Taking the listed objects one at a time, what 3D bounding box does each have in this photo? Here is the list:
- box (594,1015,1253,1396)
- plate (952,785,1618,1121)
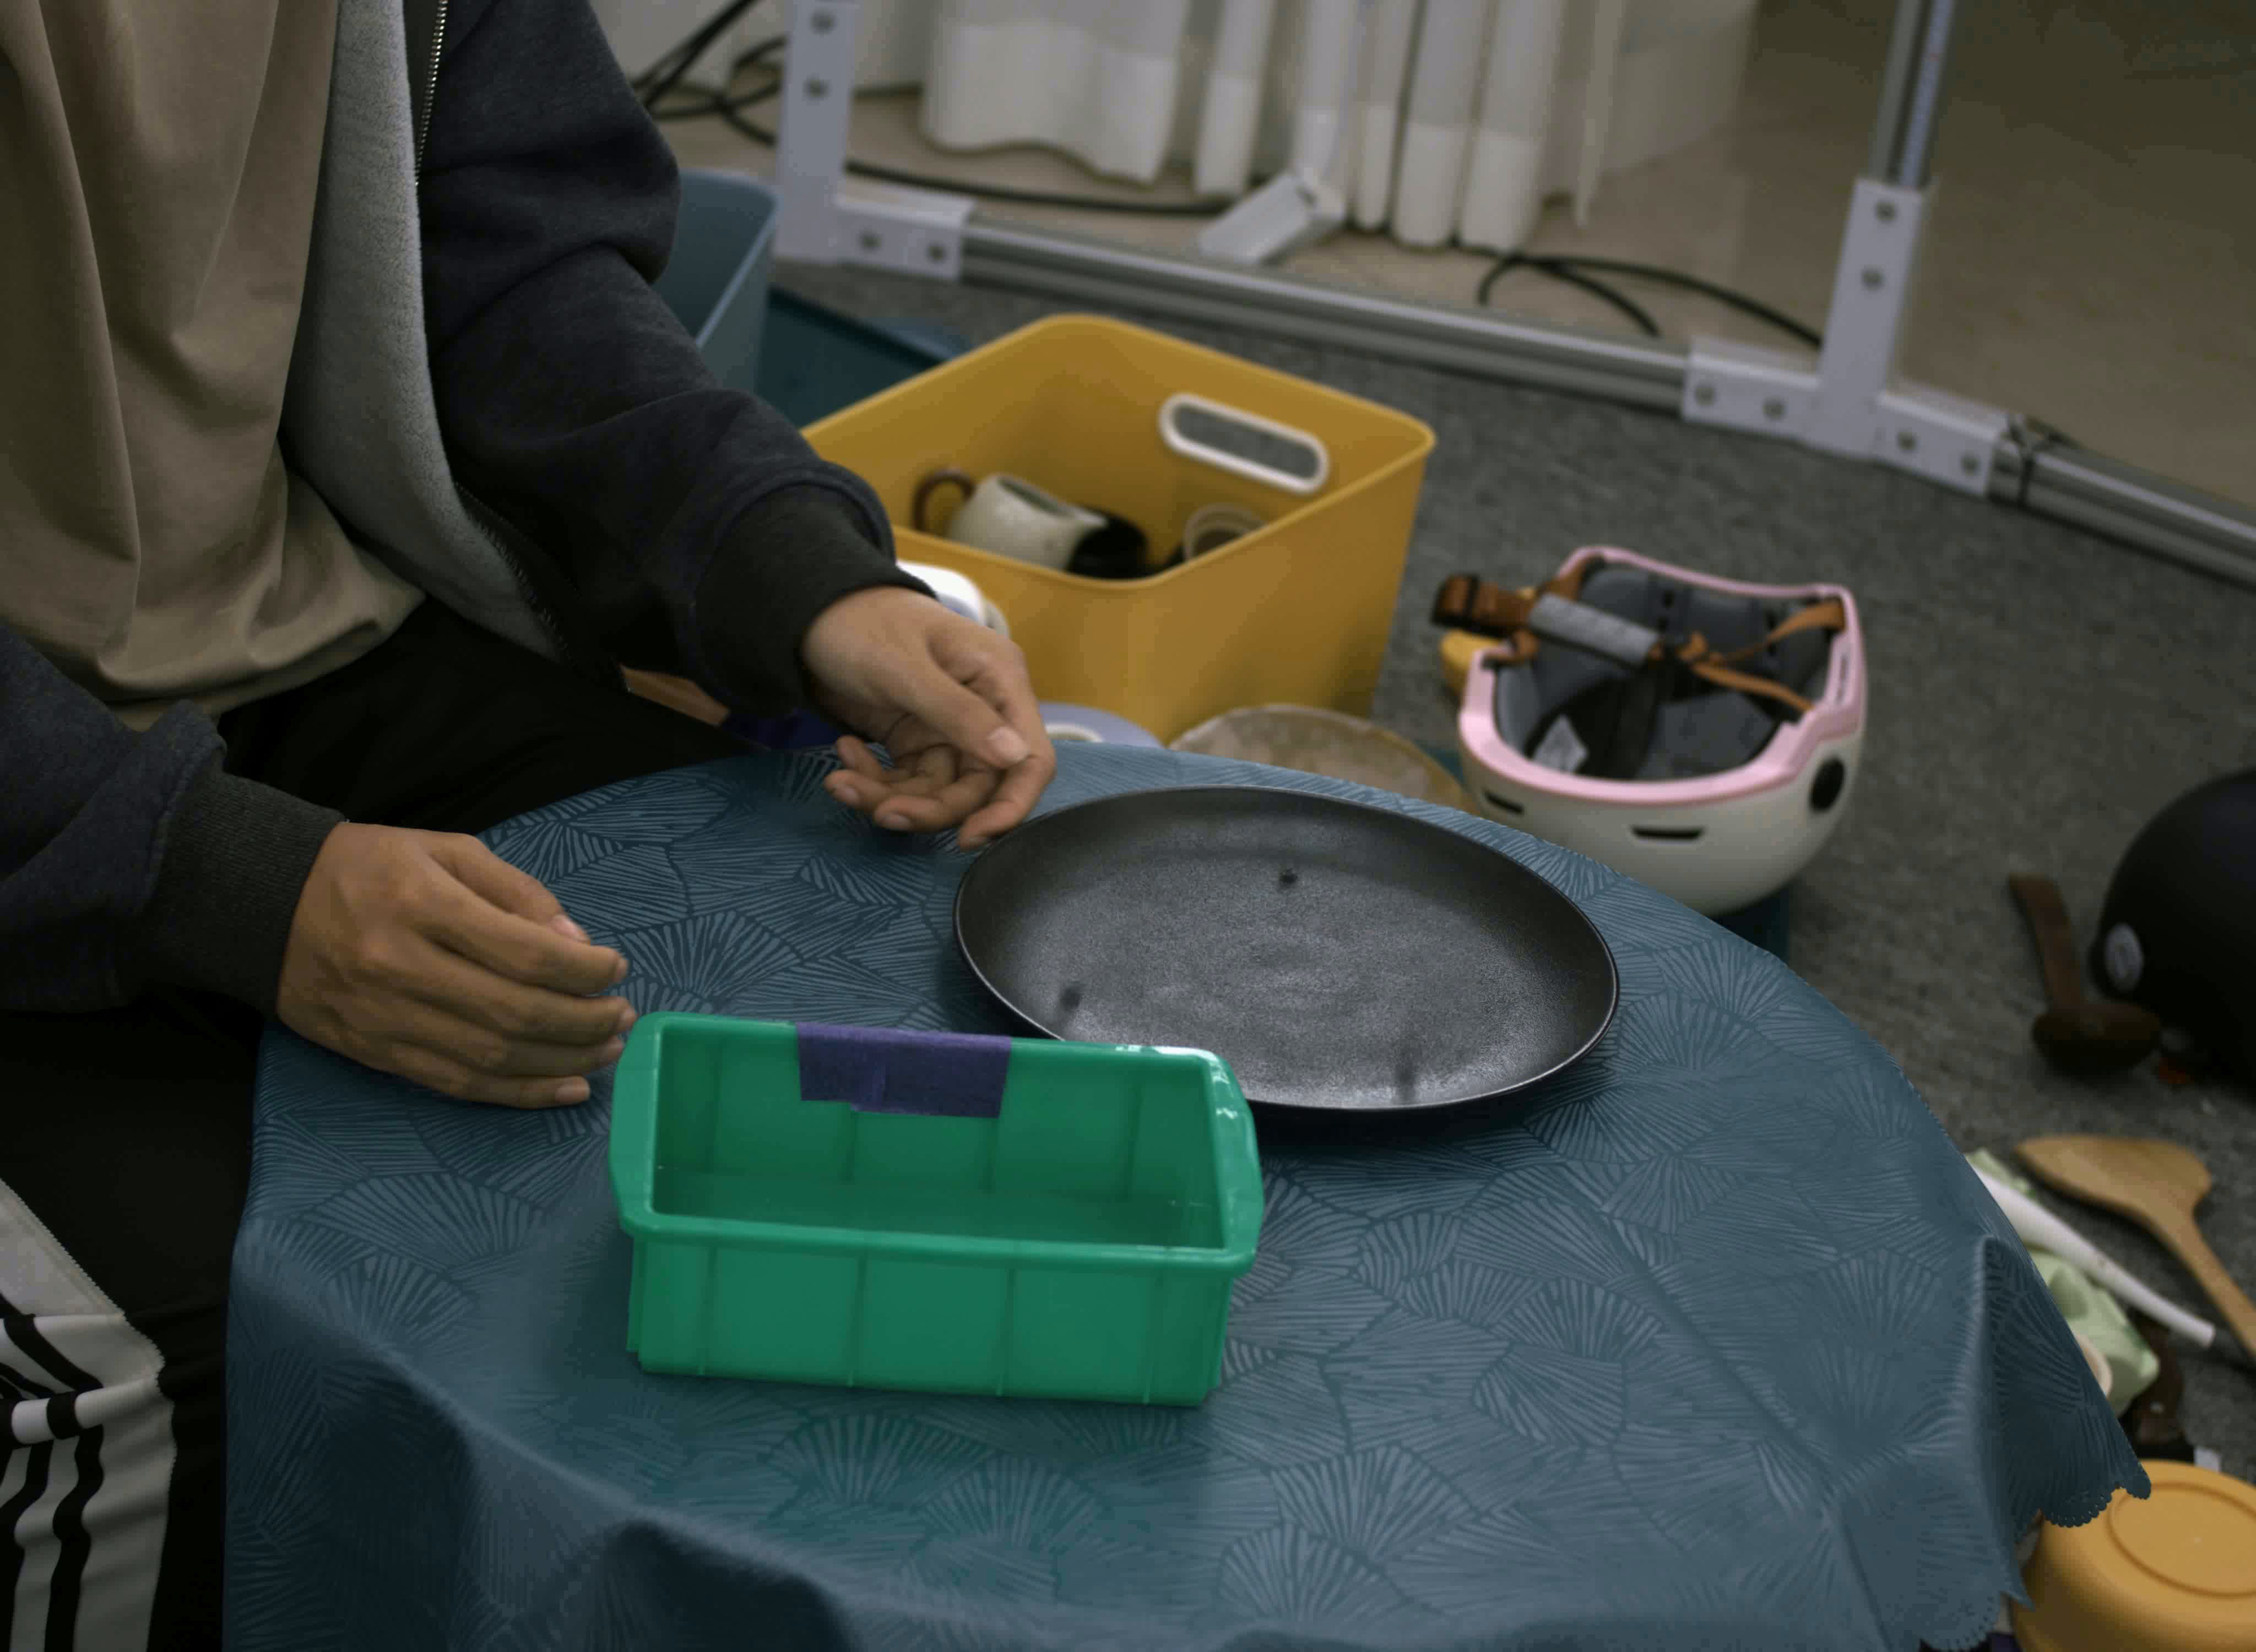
[{"bbox_3d":[-0.068,0.124,1.716,0.209,0.065,0.139,2,25,-5],"label":"box"},{"bbox_3d":[0.056,0.050,1.932,0.243,0.023,0.246,5,27,-3],"label":"plate"}]
